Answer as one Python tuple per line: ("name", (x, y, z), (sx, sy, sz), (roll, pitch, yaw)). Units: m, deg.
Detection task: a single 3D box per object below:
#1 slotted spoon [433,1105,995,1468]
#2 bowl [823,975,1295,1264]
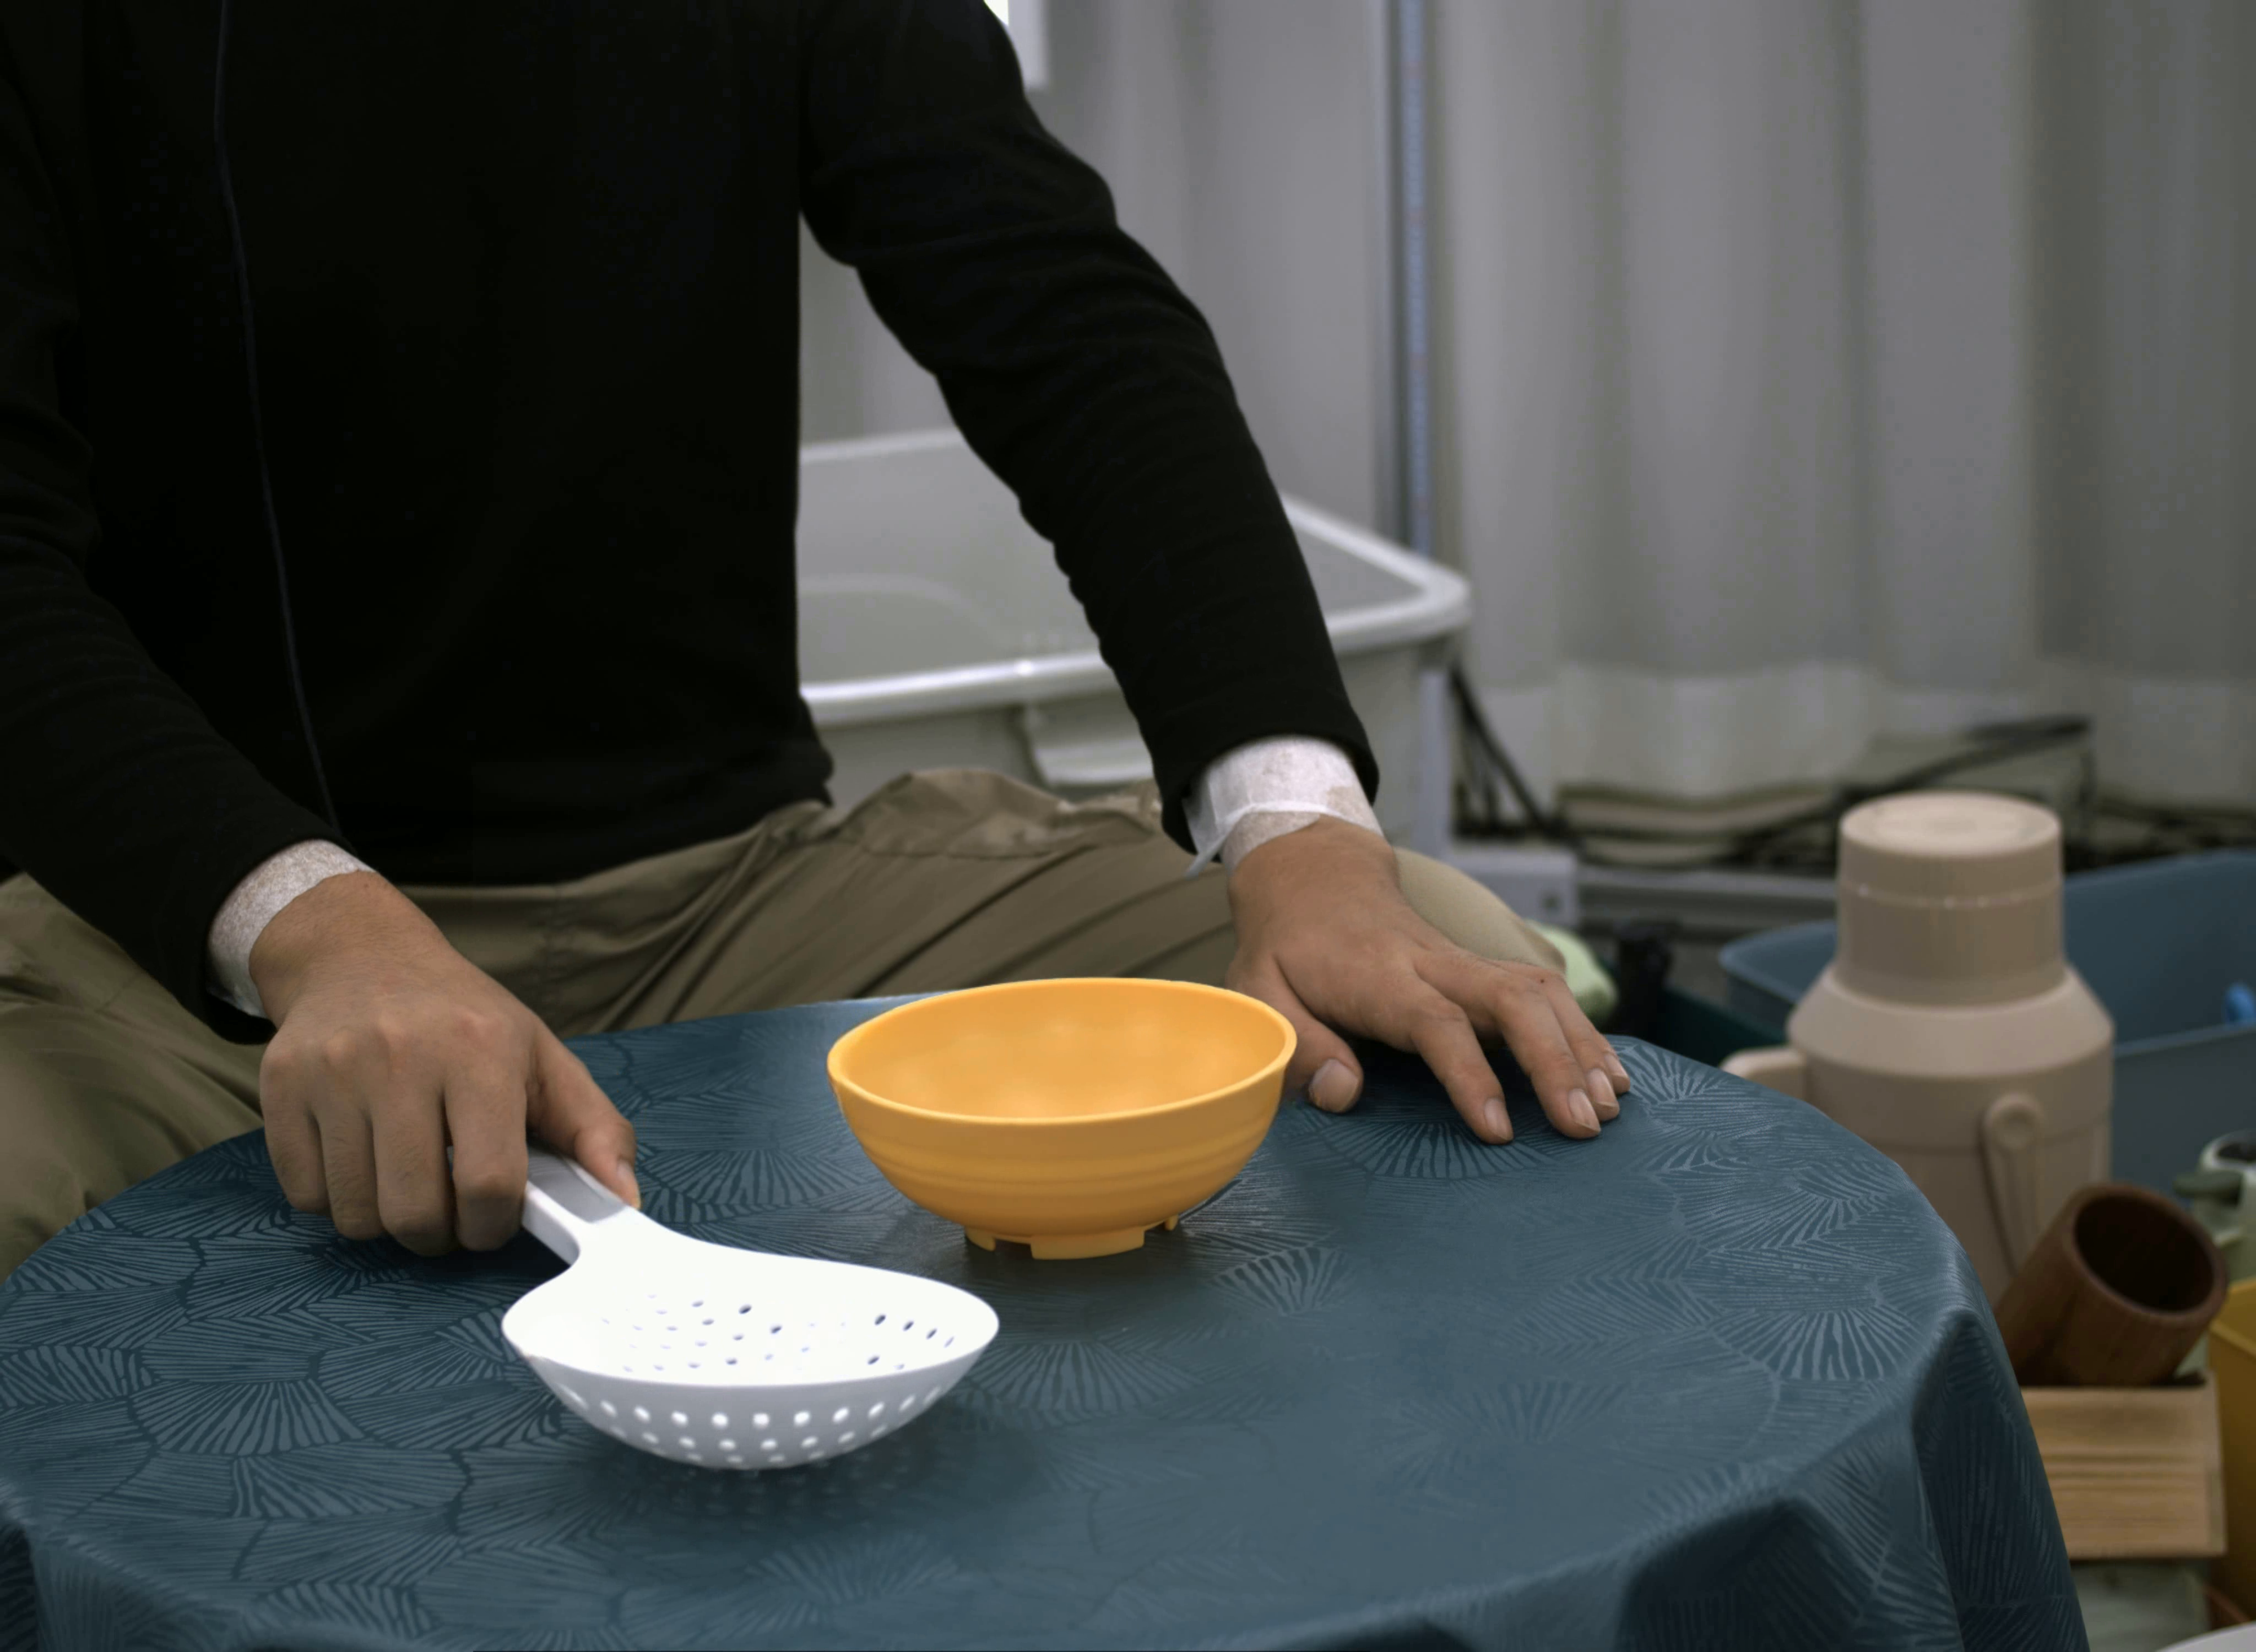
("slotted spoon", (-0.146, 0.125, 1.599), (0.135, 0.045, 0.352), (-3, 15, -22))
("bowl", (-0.021, 0.096, 1.680), (0.145, 0.060, 0.146), (-1, 16, 0))
